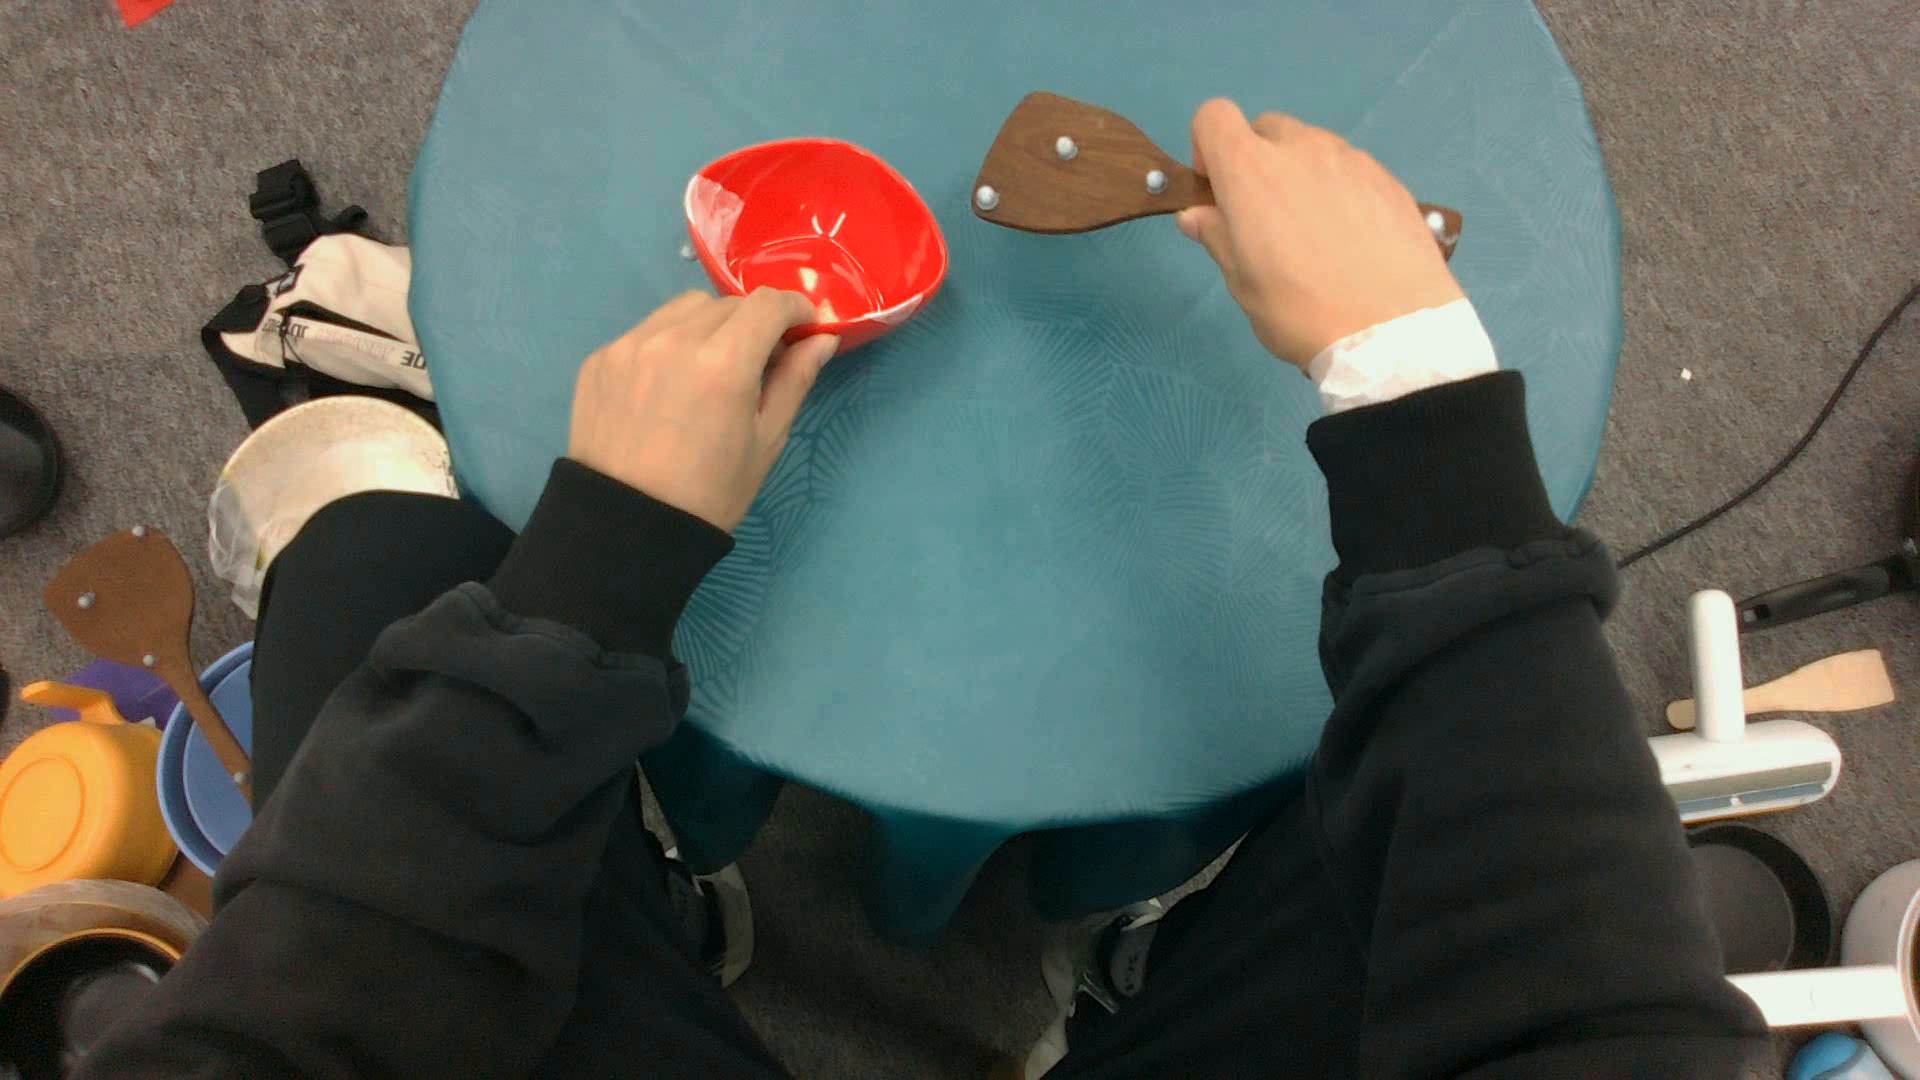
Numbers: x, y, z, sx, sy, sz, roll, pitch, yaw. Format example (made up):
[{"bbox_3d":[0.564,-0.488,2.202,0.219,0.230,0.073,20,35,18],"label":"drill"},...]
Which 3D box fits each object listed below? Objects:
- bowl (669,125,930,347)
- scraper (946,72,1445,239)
[{"bbox_3d":[-0.077,-0.132,0.631,0.119,0.051,0.119,9,55,-13],"label":"bowl"},{"bbox_3d":[0.095,-0.155,0.579,0.211,0.011,0.076,17,72,24],"label":"scraper"}]
